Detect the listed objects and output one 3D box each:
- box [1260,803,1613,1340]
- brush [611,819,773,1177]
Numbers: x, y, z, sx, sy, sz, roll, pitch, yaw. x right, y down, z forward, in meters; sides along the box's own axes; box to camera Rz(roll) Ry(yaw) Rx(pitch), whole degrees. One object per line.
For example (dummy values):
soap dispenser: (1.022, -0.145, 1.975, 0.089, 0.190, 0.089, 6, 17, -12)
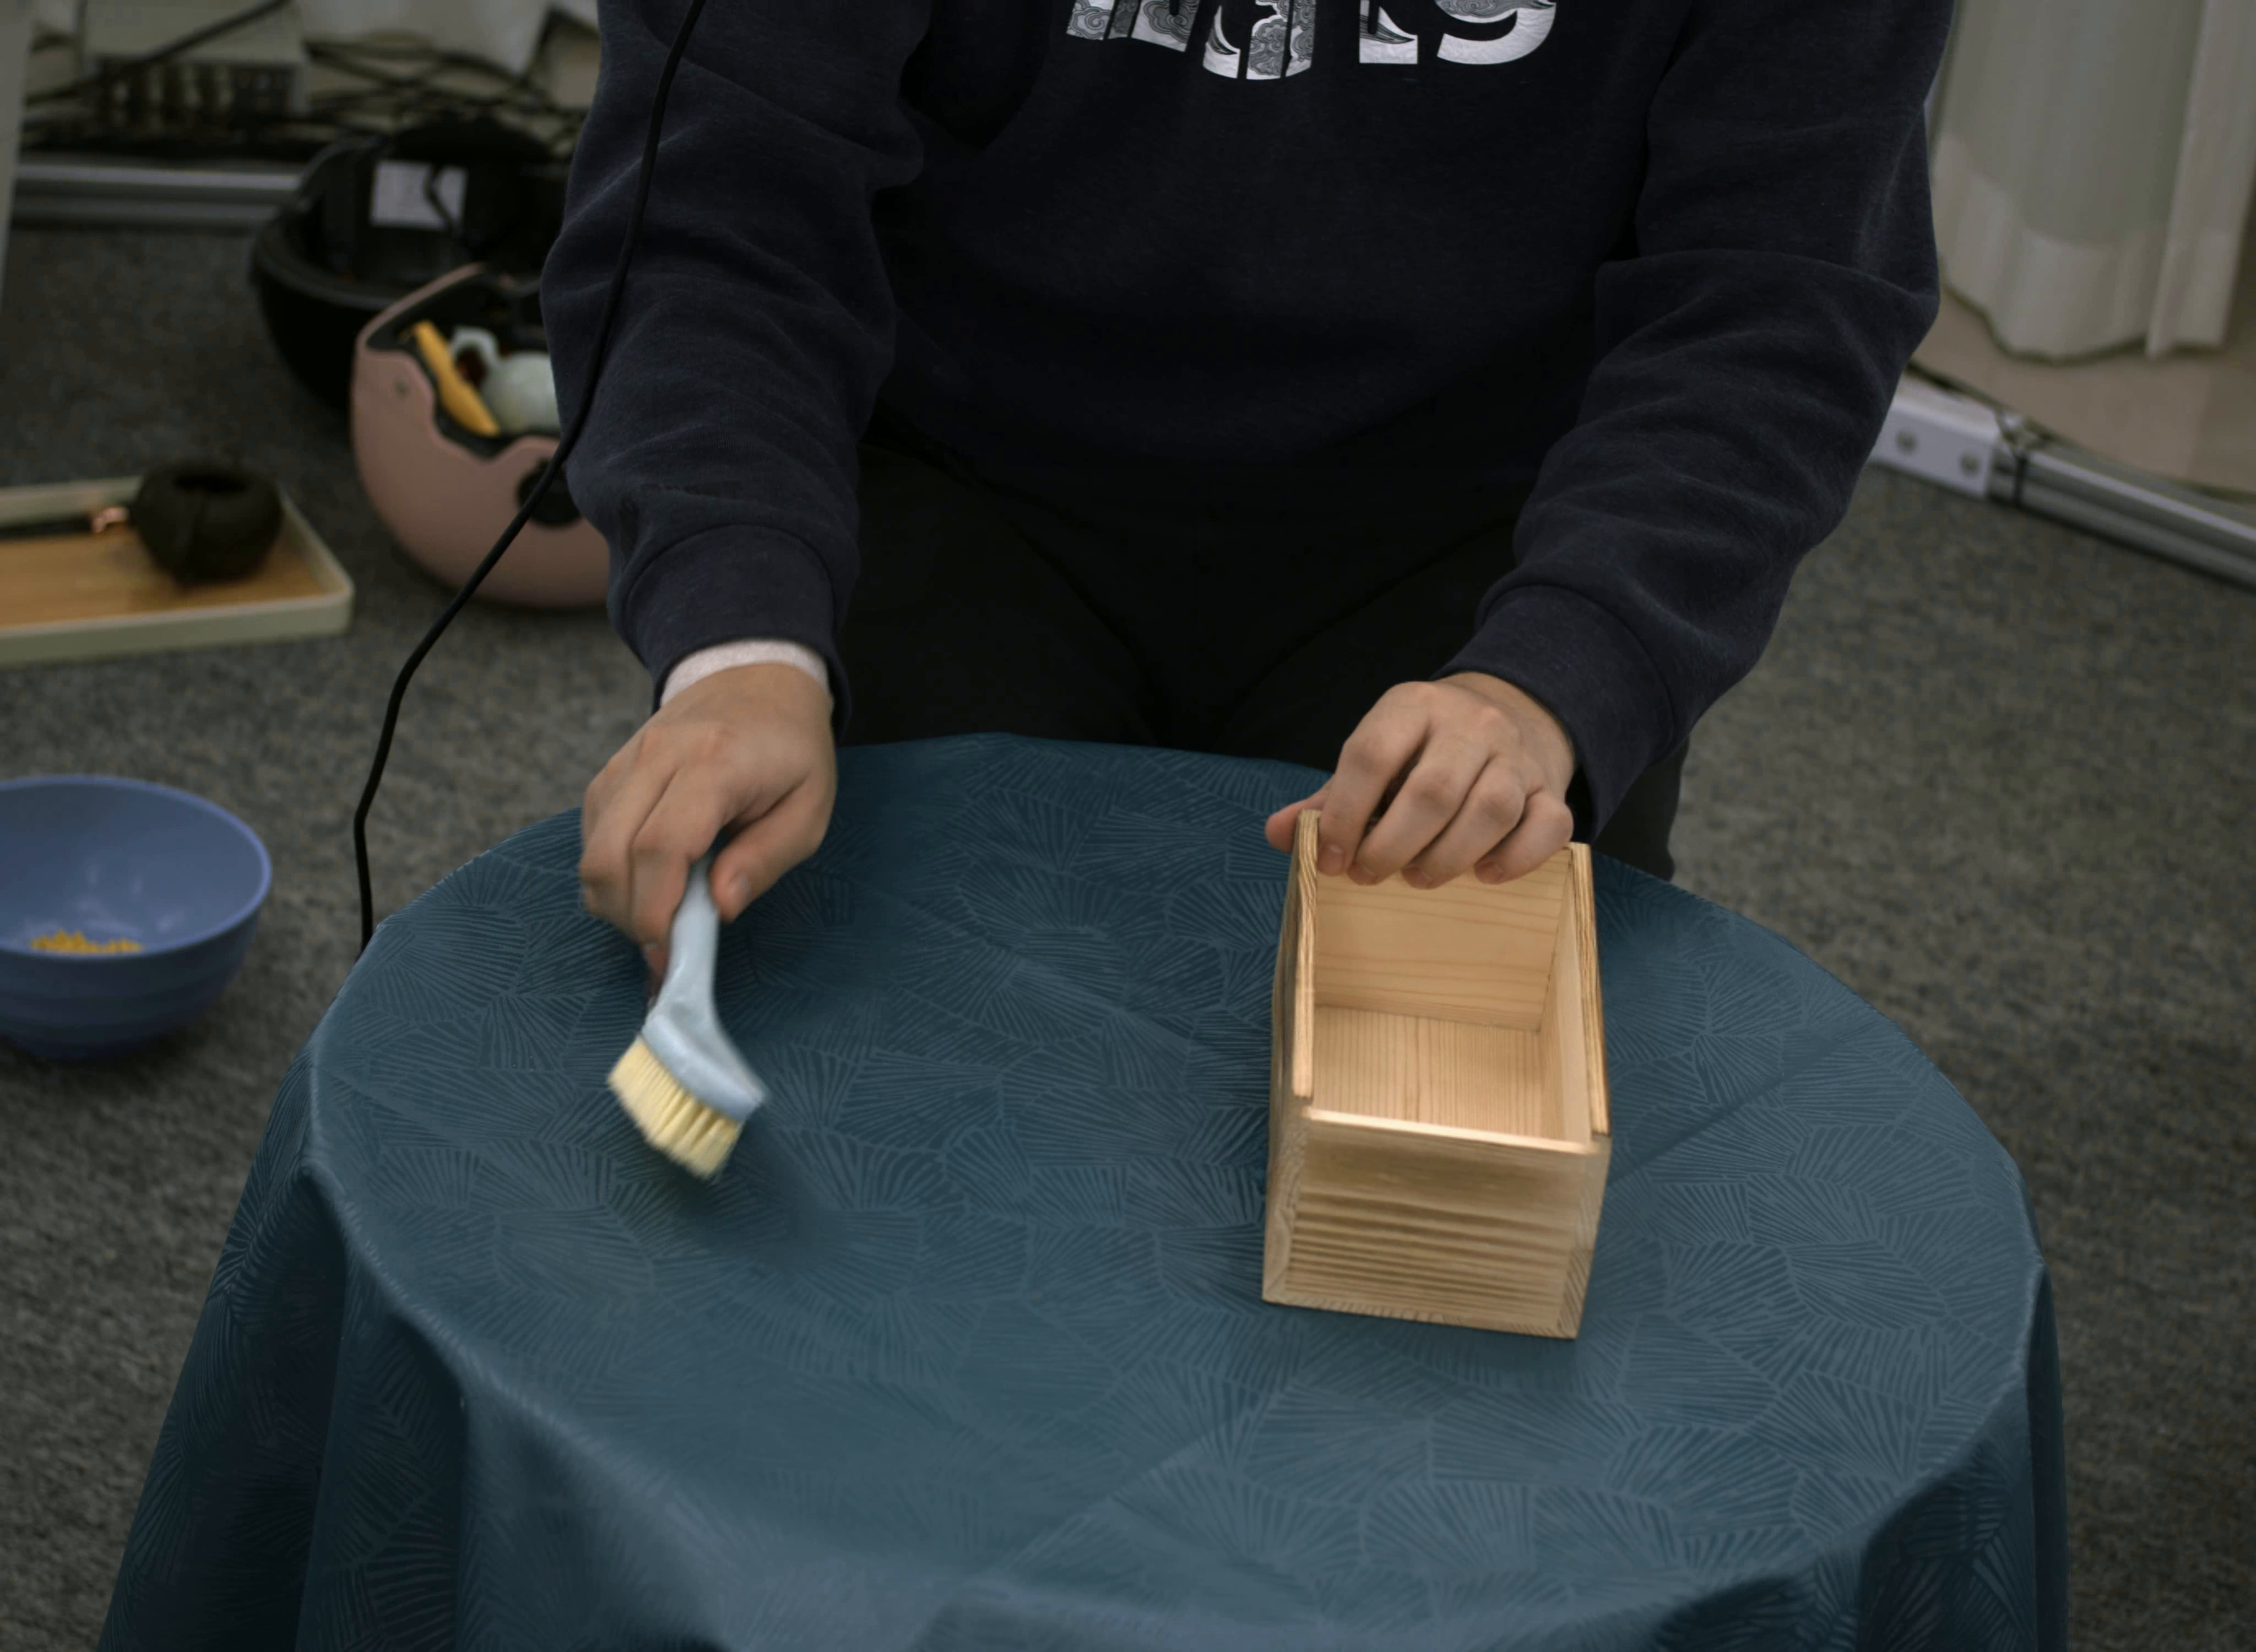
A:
box: (0.105, 0.081, 1.827, 0.107, 0.080, 0.212, 7, 27, -1)
brush: (-0.160, 0.055, 1.839, 0.037, 0.049, 0.230, 32, 17, -24)
